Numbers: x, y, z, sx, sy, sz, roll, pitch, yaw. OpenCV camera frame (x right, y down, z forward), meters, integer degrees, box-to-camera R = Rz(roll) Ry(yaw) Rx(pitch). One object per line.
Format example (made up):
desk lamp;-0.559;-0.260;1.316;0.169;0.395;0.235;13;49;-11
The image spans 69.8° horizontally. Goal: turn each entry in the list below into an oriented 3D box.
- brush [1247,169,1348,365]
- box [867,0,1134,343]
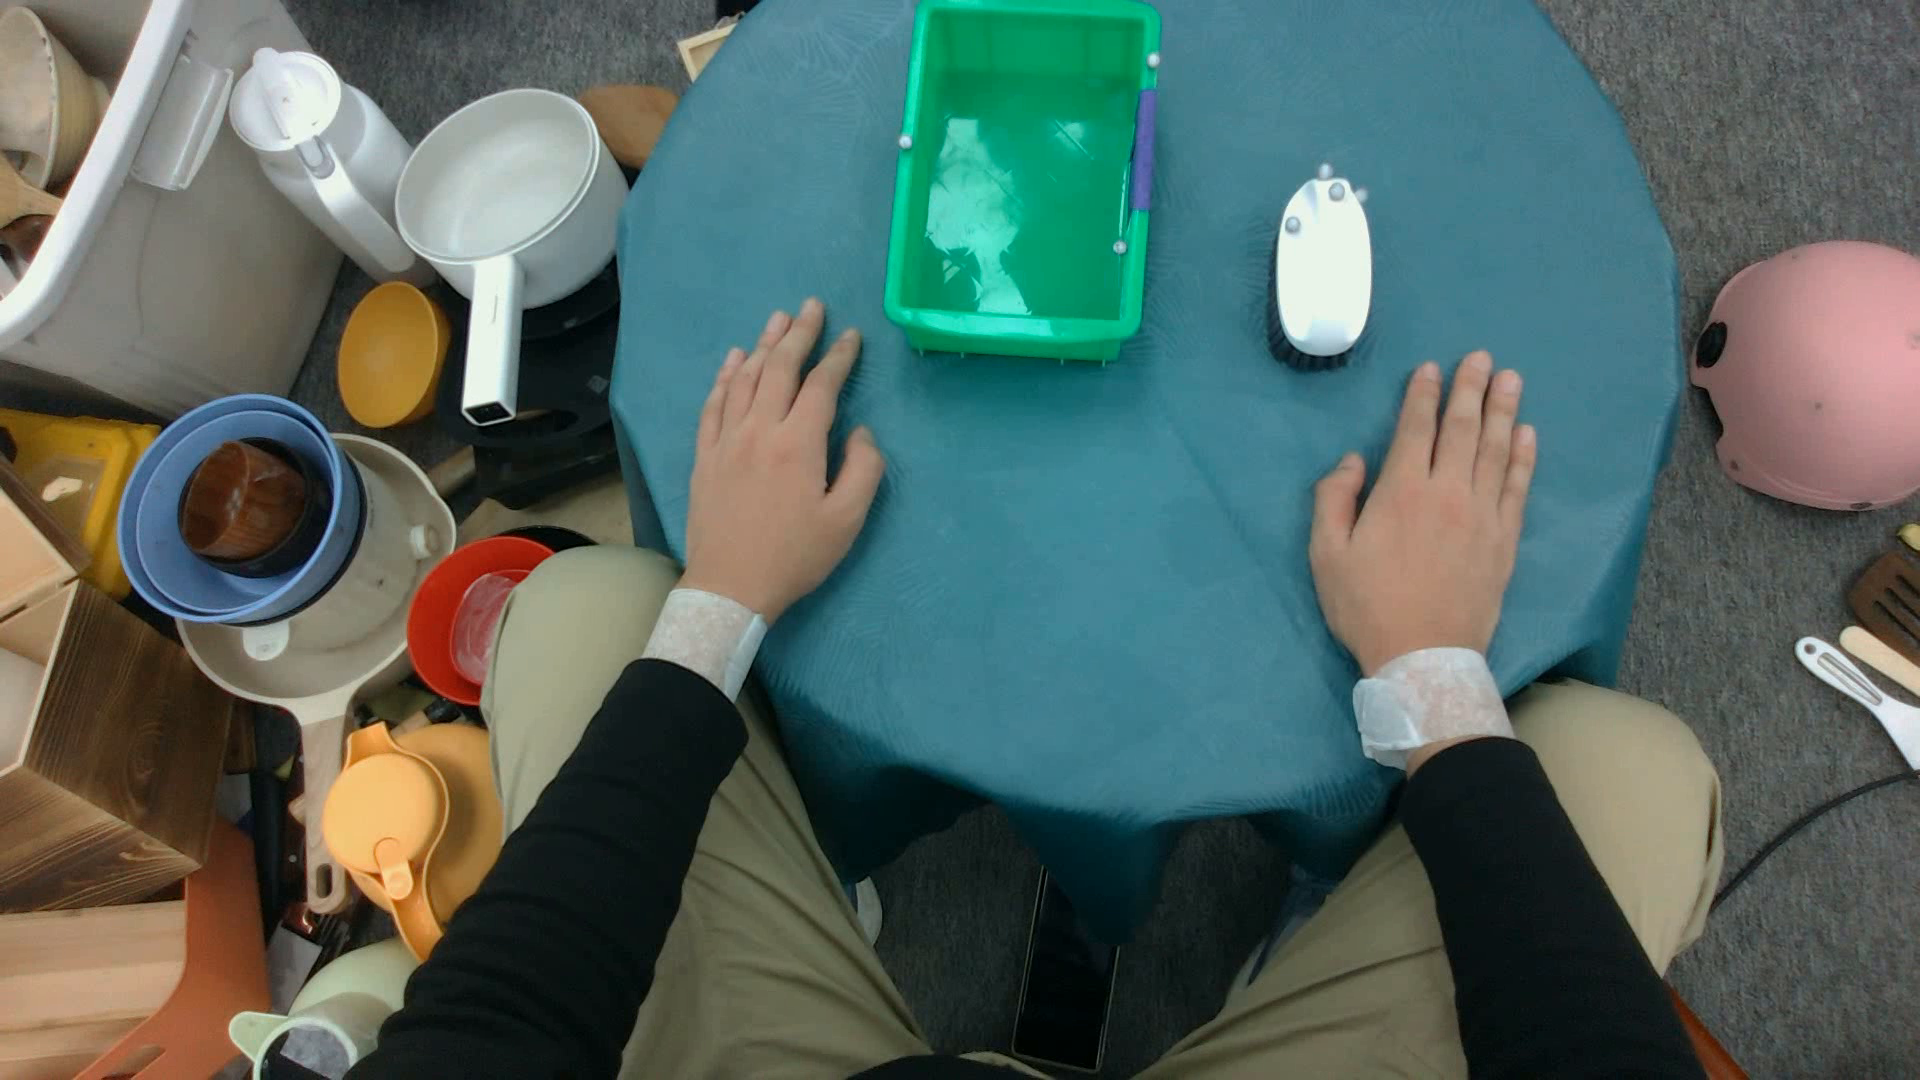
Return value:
brush;0.187;-0.155;0.749;0.050;0.072;0.099;5;76;3
box;0.025;-0.209;0.777;0.138;0.065;0.211;3;74;1
